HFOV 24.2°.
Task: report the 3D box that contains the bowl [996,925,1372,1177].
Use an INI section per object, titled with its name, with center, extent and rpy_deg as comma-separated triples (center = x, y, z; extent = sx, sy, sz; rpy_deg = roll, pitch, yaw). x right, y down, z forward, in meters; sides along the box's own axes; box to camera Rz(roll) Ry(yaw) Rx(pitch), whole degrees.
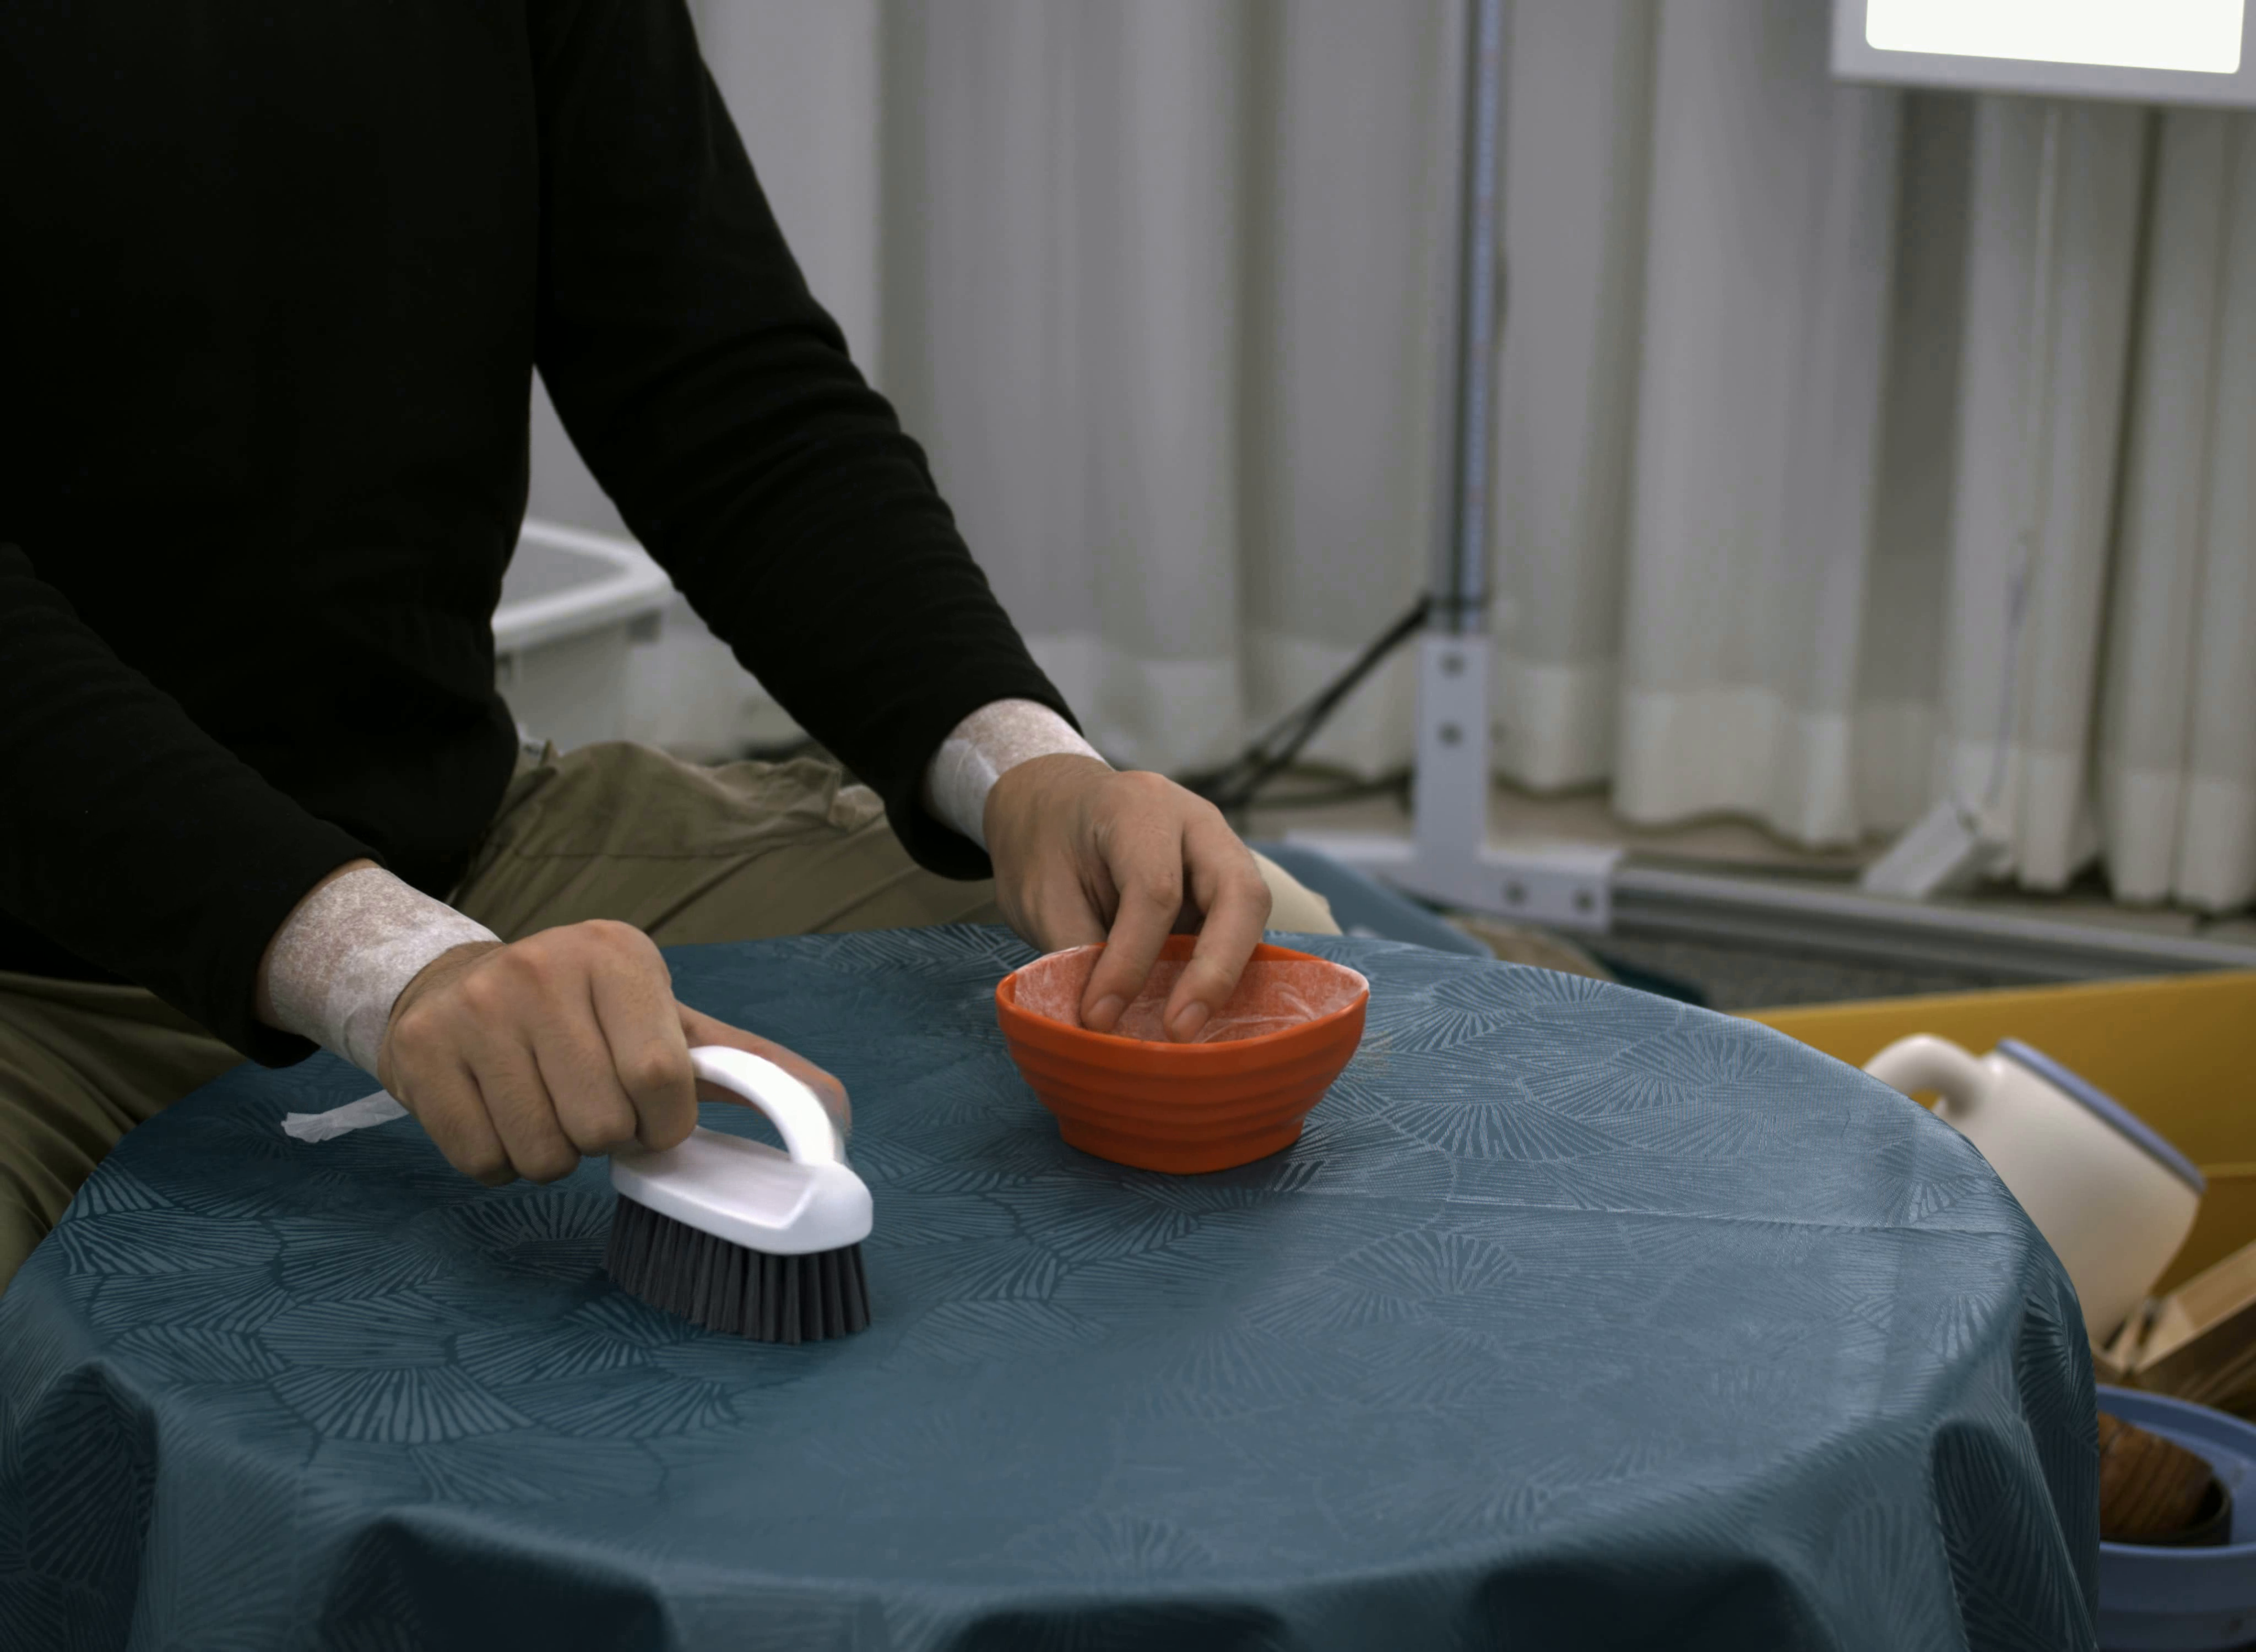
[bowl]
center = 0.017, 0.073, 1.664
extent = 0.118, 0.052, 0.118
rpy_deg = 1, 18, 0

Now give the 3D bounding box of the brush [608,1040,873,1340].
[brush]
center = -0.114, 0.100, 1.522
extent = 0.050, 0.073, 0.098
rpy_deg = -13, 21, -37
